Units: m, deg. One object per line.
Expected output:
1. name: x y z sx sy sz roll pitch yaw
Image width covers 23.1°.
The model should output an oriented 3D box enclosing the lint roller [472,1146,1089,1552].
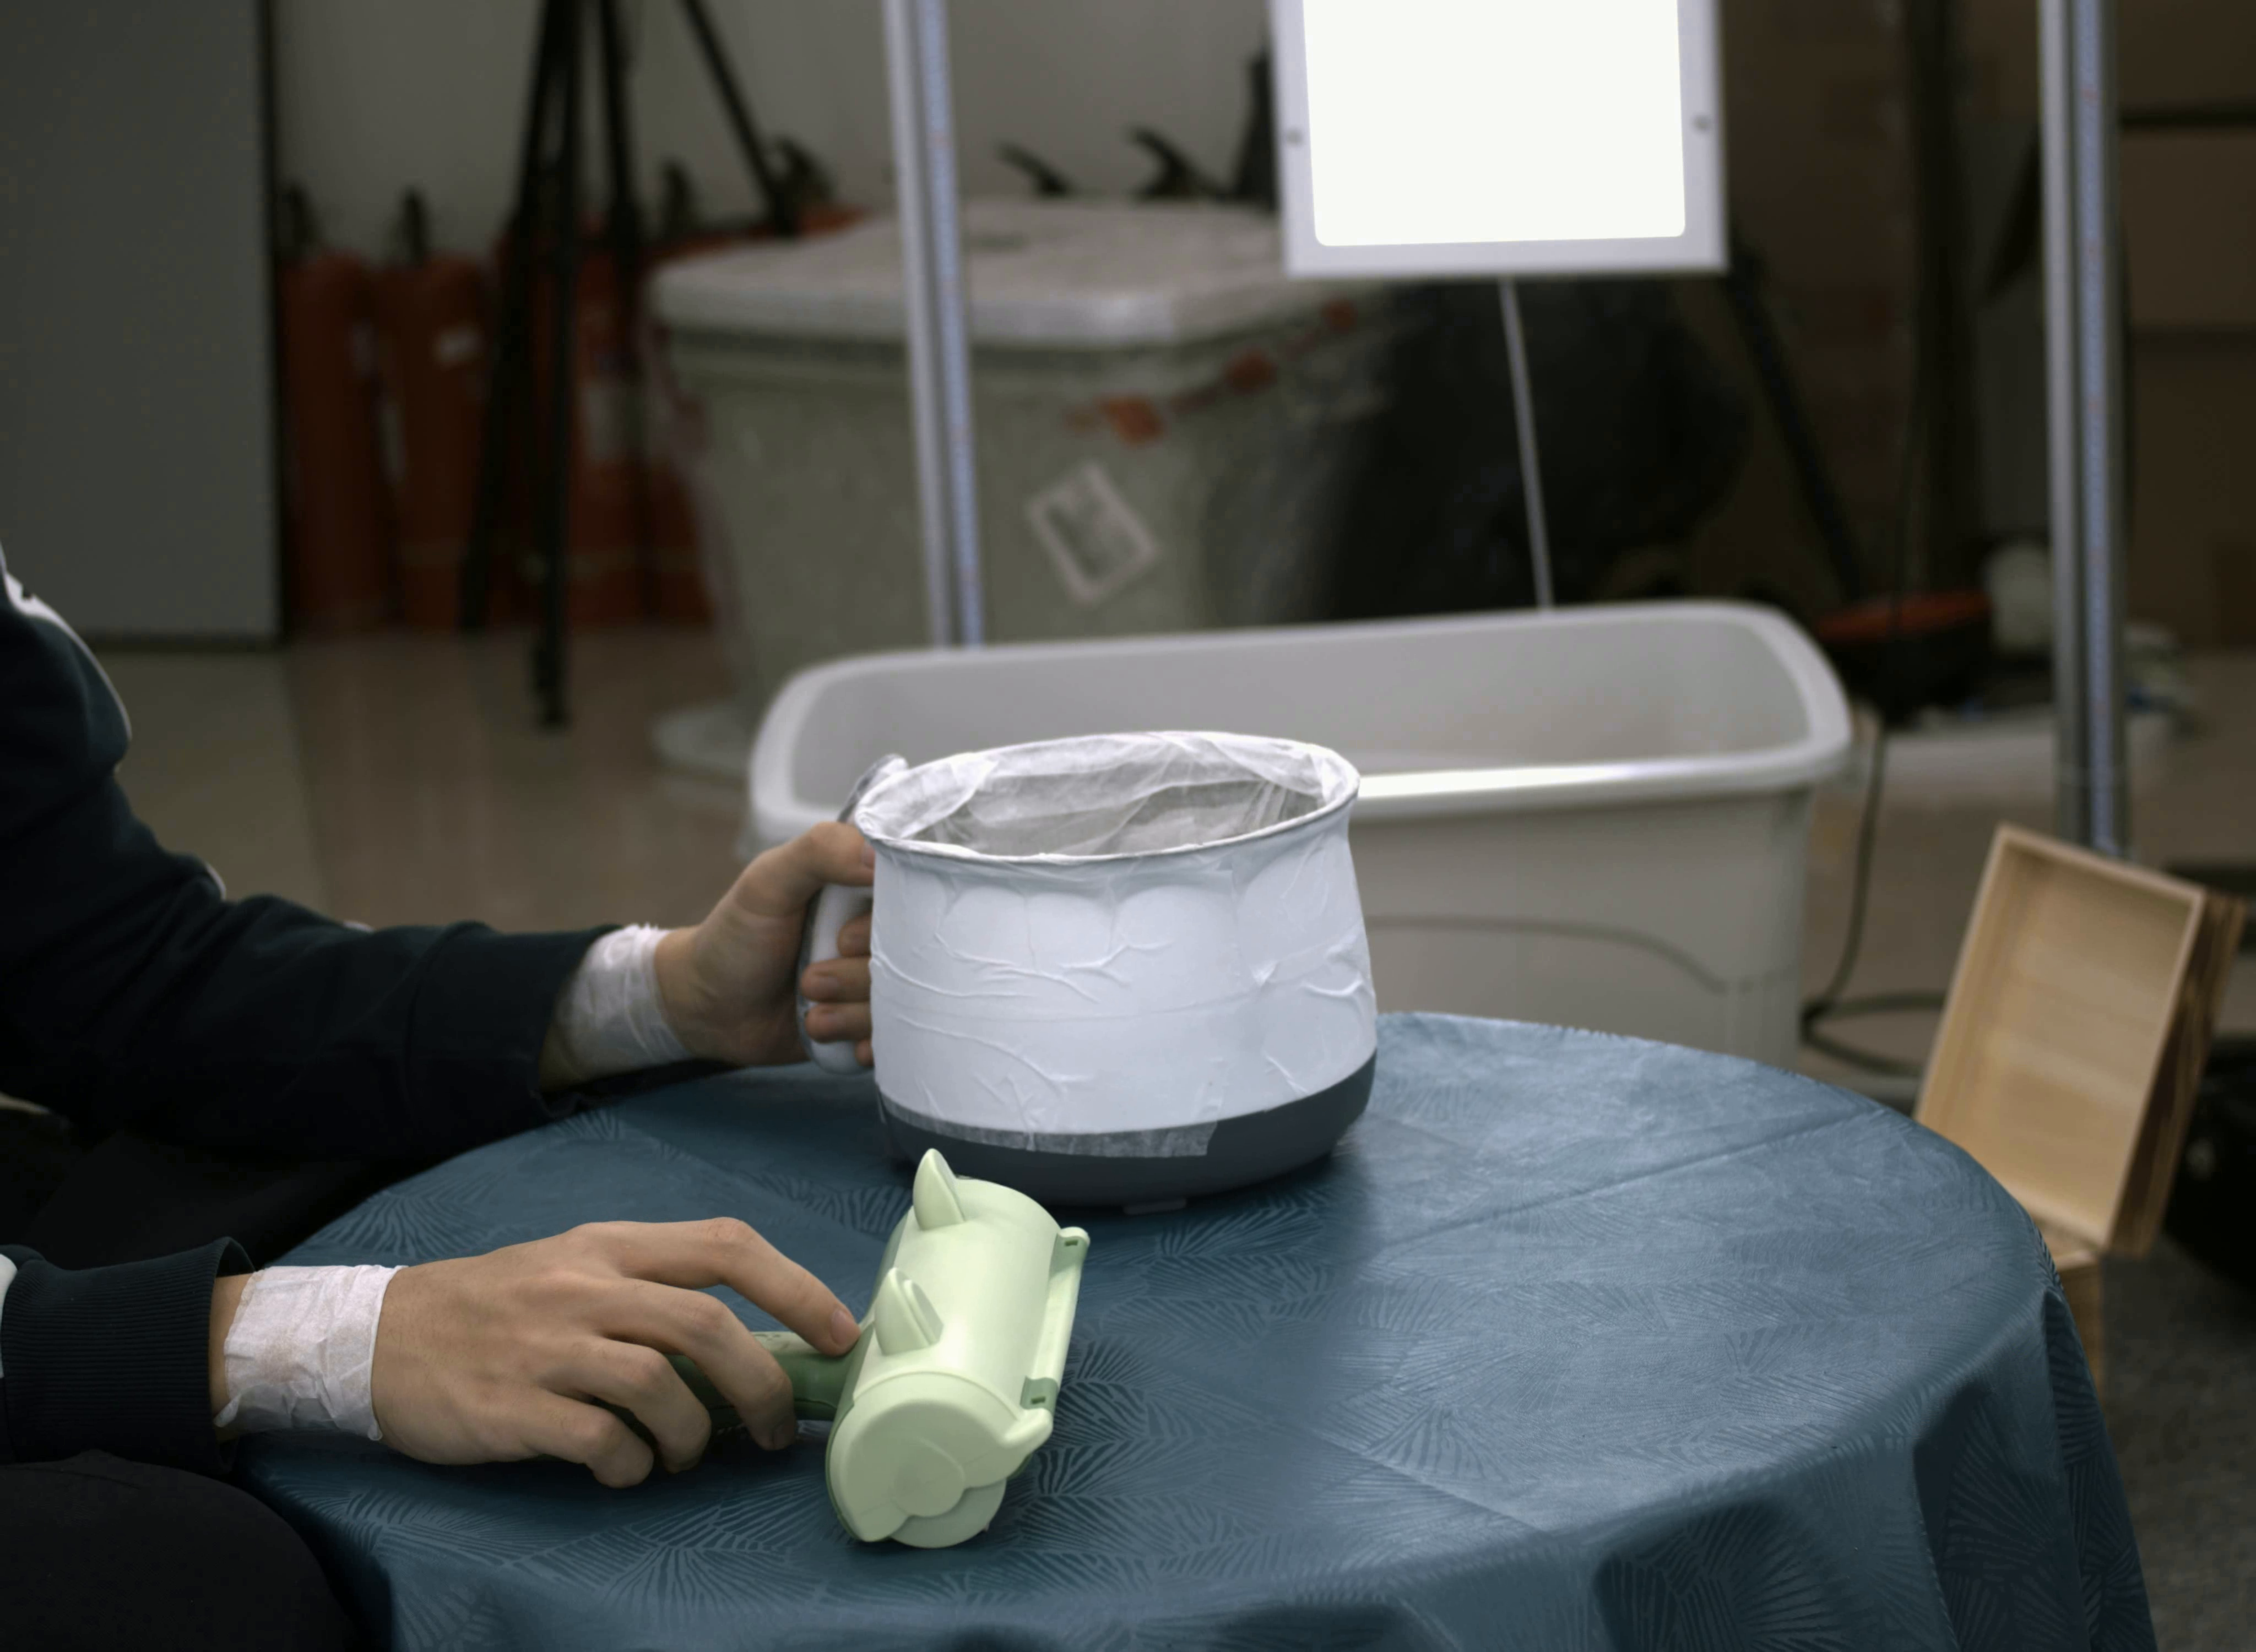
1. lint roller: -0.109 0.153 1.671 0.183 0.082 0.197 1 15 5

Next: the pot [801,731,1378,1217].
1. pot: -0.024 0.047 1.937 0.238 0.137 0.174 8 18 39
